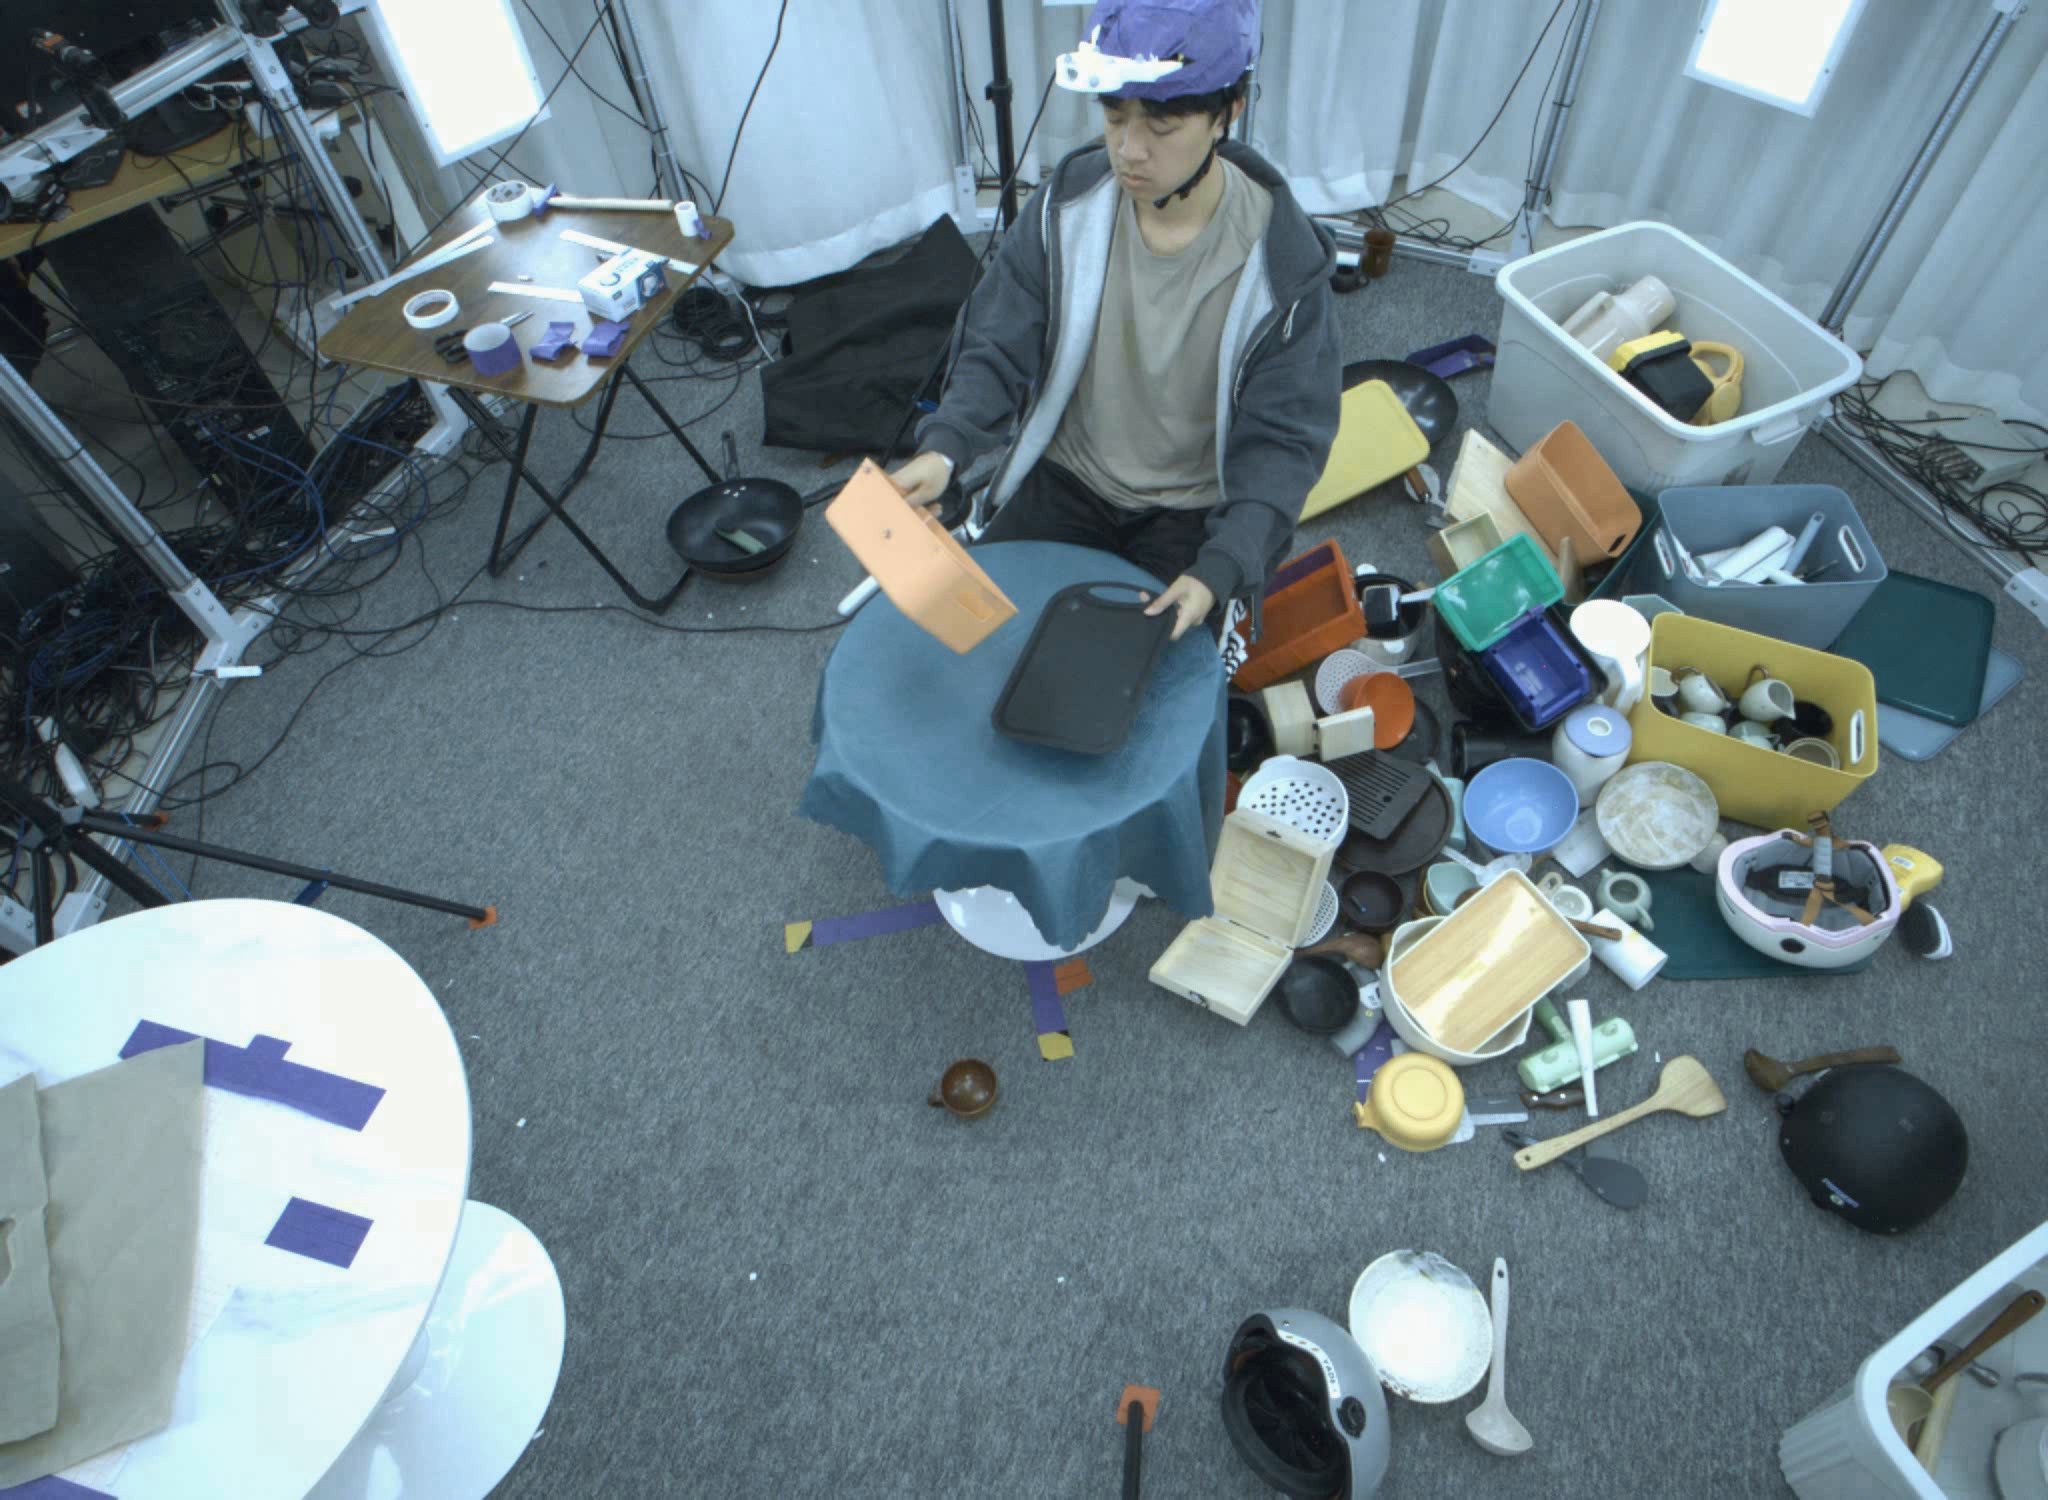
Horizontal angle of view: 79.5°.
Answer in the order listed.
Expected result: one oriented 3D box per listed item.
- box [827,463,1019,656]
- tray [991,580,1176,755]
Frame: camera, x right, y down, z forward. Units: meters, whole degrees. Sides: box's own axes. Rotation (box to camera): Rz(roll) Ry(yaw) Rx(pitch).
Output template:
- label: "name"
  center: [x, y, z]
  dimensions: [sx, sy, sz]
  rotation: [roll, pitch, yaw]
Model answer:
- label: "box"
  center: [-0.146, -0.258, 1.671]
  dimensions: [0.102, 0.204, 0.268]
  rotation: [-44, 58, 9]
- label: "tray"
  center: [0.091, -0.133, 1.807]
  dimensions: [0.208, 0.010, 0.325]
  rotation: [12, 58, 21]
